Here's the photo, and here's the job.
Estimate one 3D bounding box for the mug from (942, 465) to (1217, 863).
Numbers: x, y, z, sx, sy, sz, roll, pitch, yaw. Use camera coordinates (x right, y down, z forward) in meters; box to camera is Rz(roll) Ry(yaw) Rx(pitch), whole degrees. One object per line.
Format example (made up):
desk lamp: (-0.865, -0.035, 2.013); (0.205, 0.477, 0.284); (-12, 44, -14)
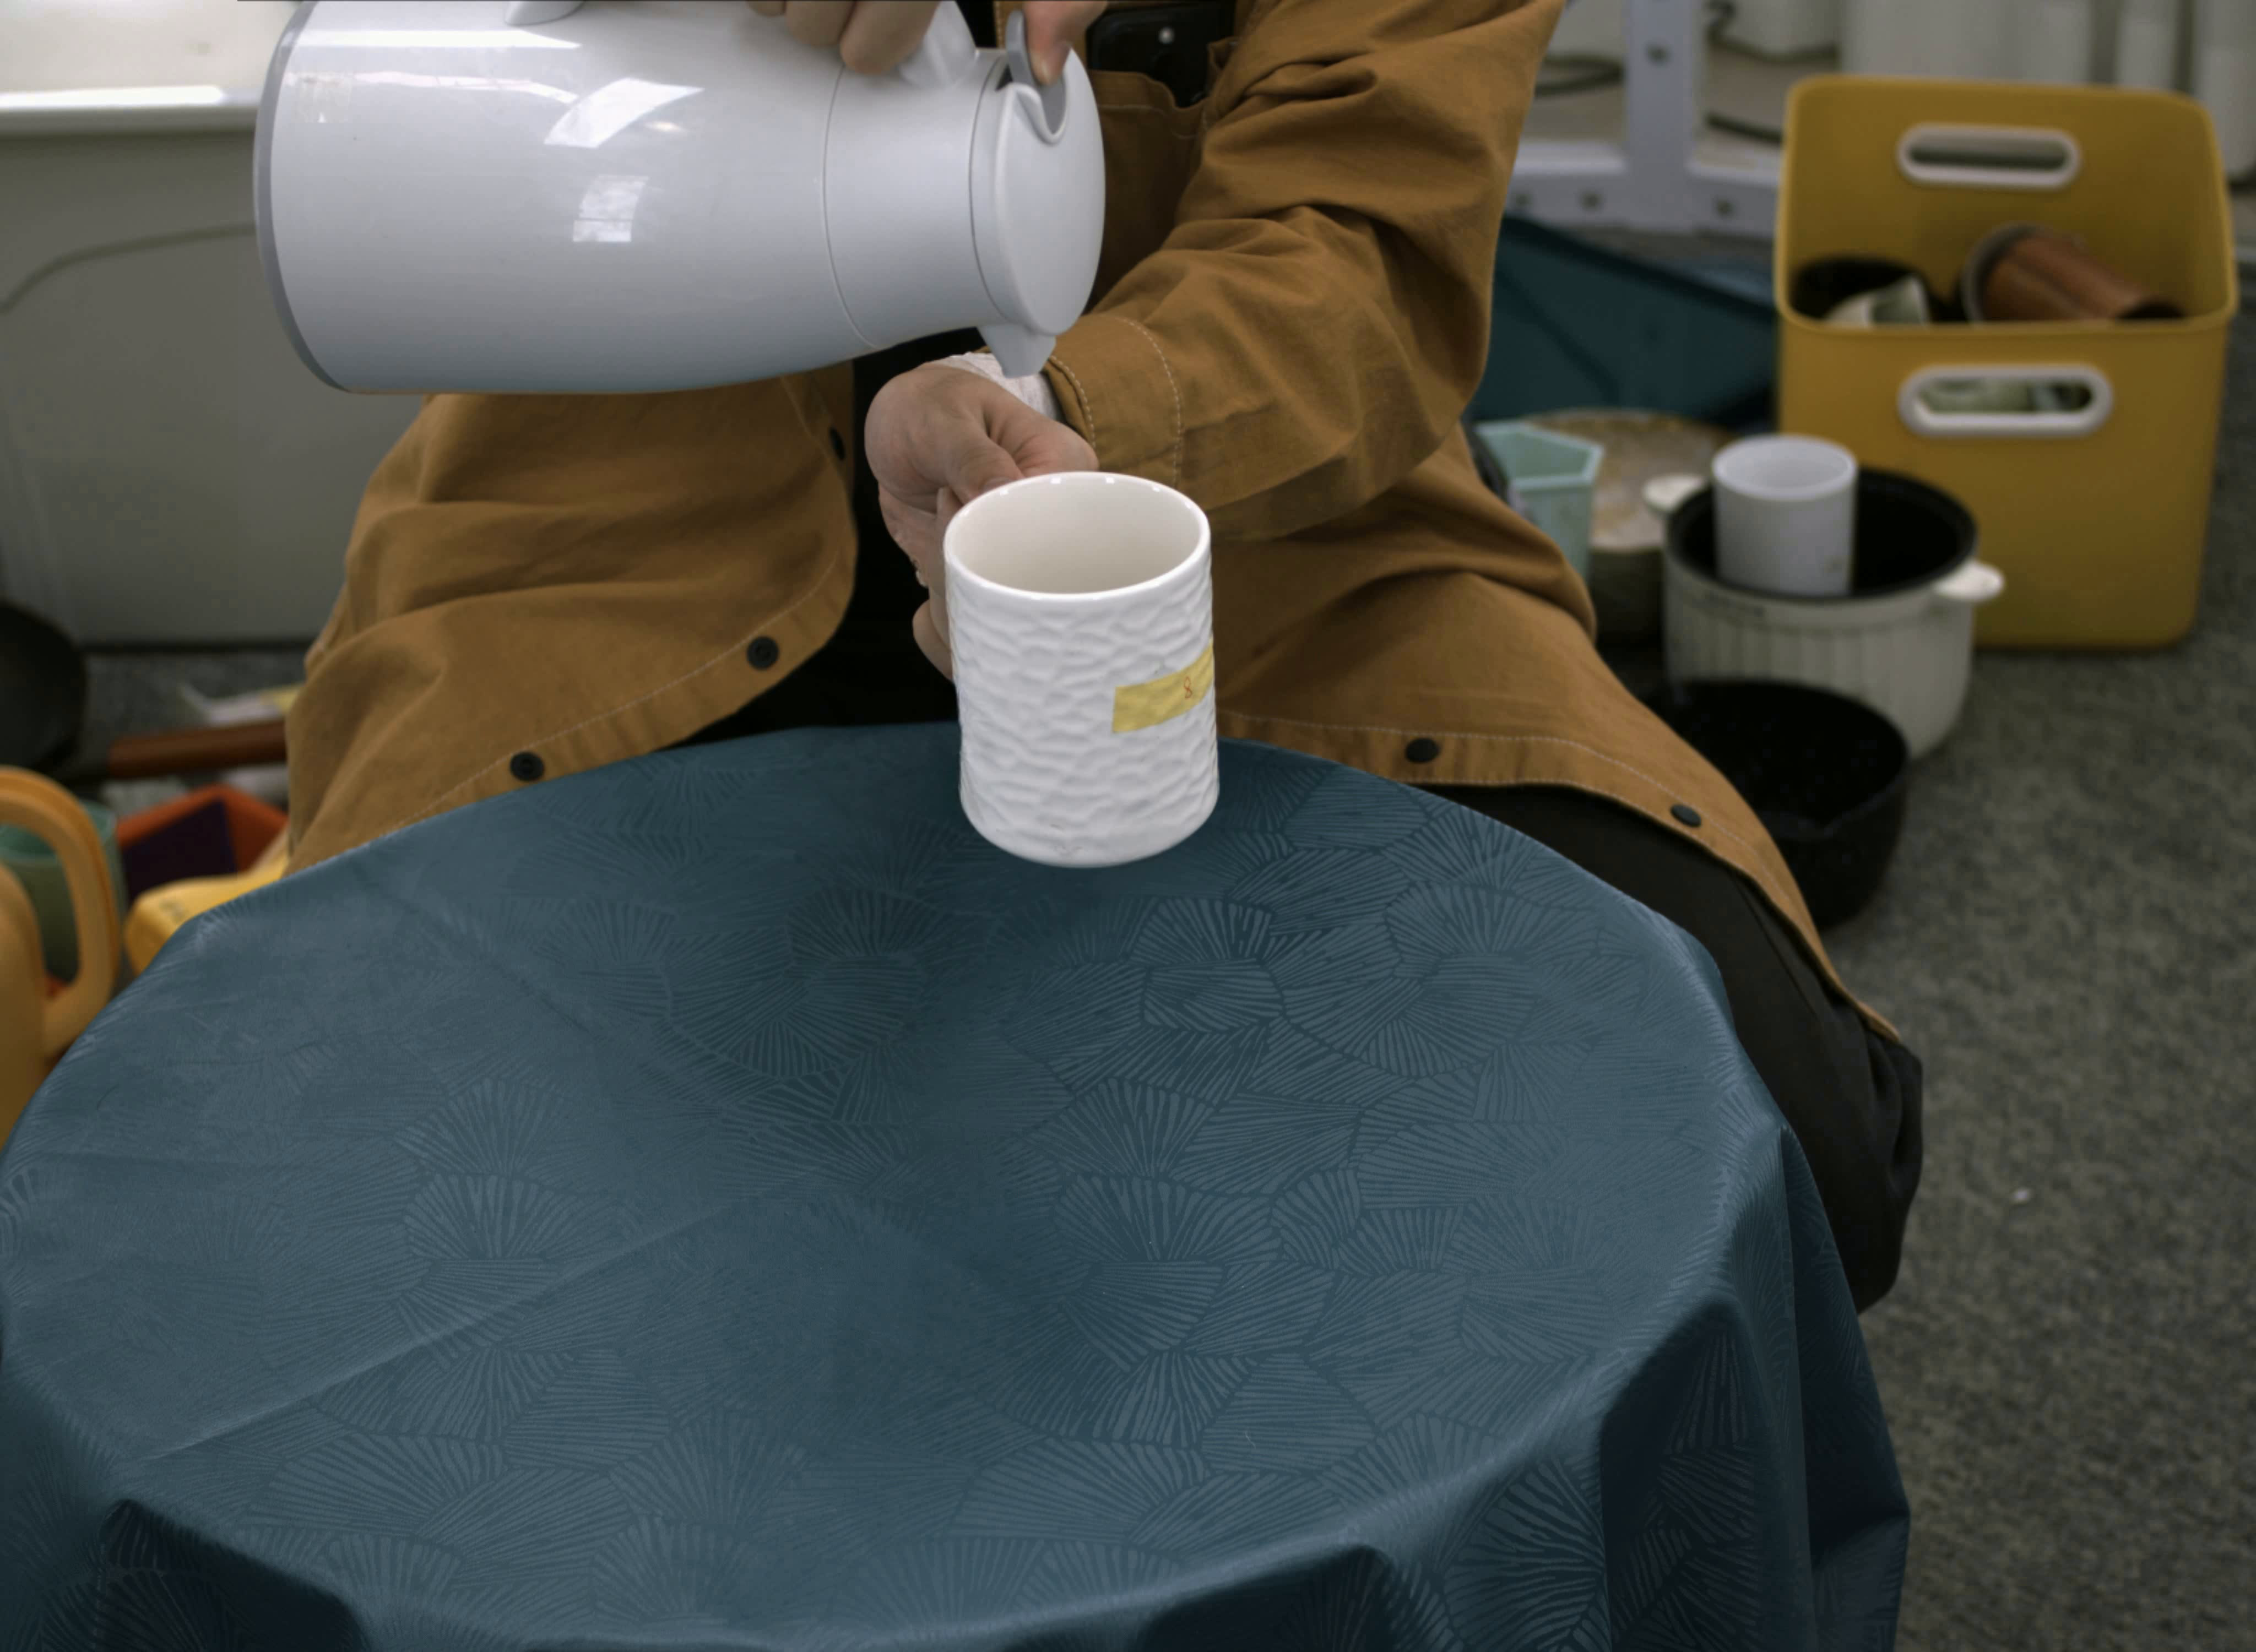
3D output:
mug: (-0.022, -0.058, 1.814); (0.085, 0.101, 0.119); (-16, 32, -22)

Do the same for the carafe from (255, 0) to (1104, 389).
carafe: (-0.136, -0.215, 1.749); (0.246, 0.165, 0.135); (2, 36, 20)
